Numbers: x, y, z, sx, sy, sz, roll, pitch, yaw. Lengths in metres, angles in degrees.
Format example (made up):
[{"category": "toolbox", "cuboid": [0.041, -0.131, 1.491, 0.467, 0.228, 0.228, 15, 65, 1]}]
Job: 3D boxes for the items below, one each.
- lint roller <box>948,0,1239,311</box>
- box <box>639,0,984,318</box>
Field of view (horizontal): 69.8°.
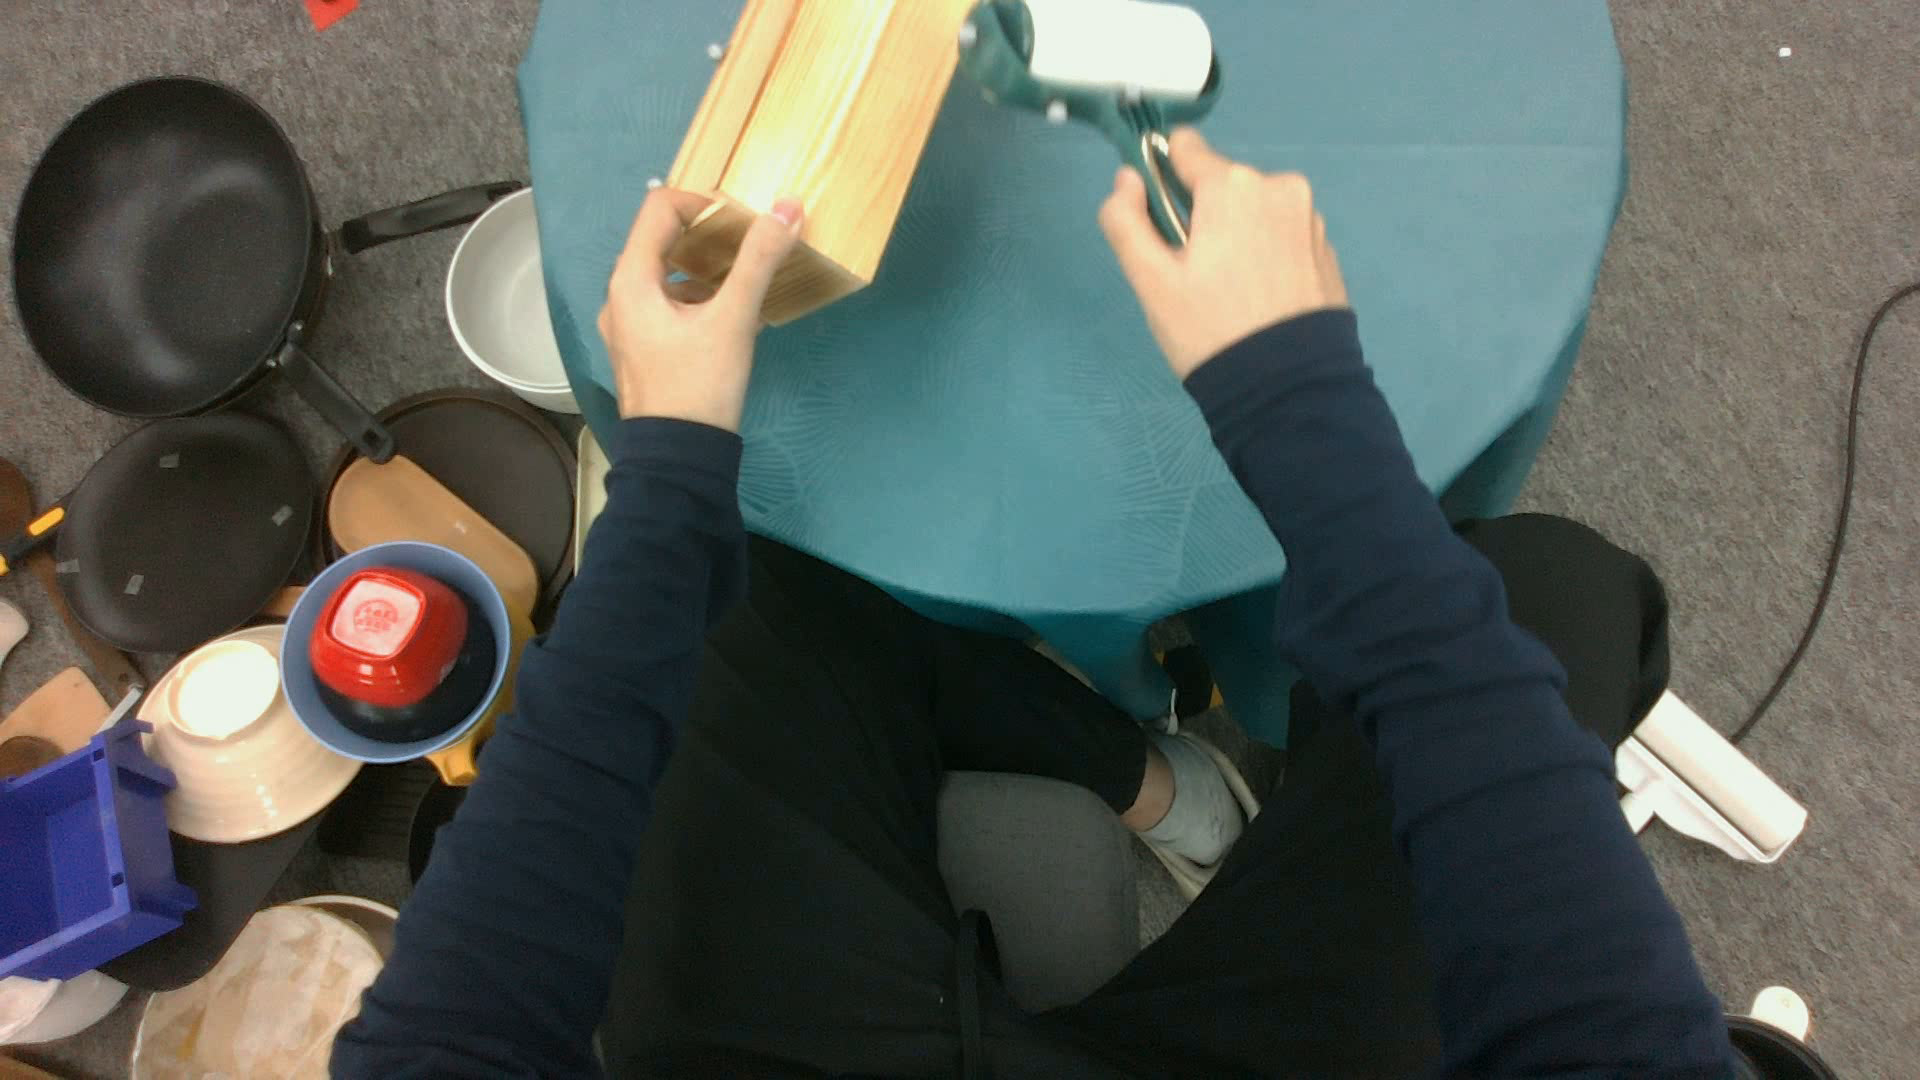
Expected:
[{"category": "lint roller", "cuboid": [0.078, -0.179, 0.568, 0.135, 0.048, 0.180, -10, 64, -37]}, {"category": "box", "cuboid": [-0.063, -0.226, 0.670, 0.080, 0.107, 0.212, 28, 72, -28]}]
